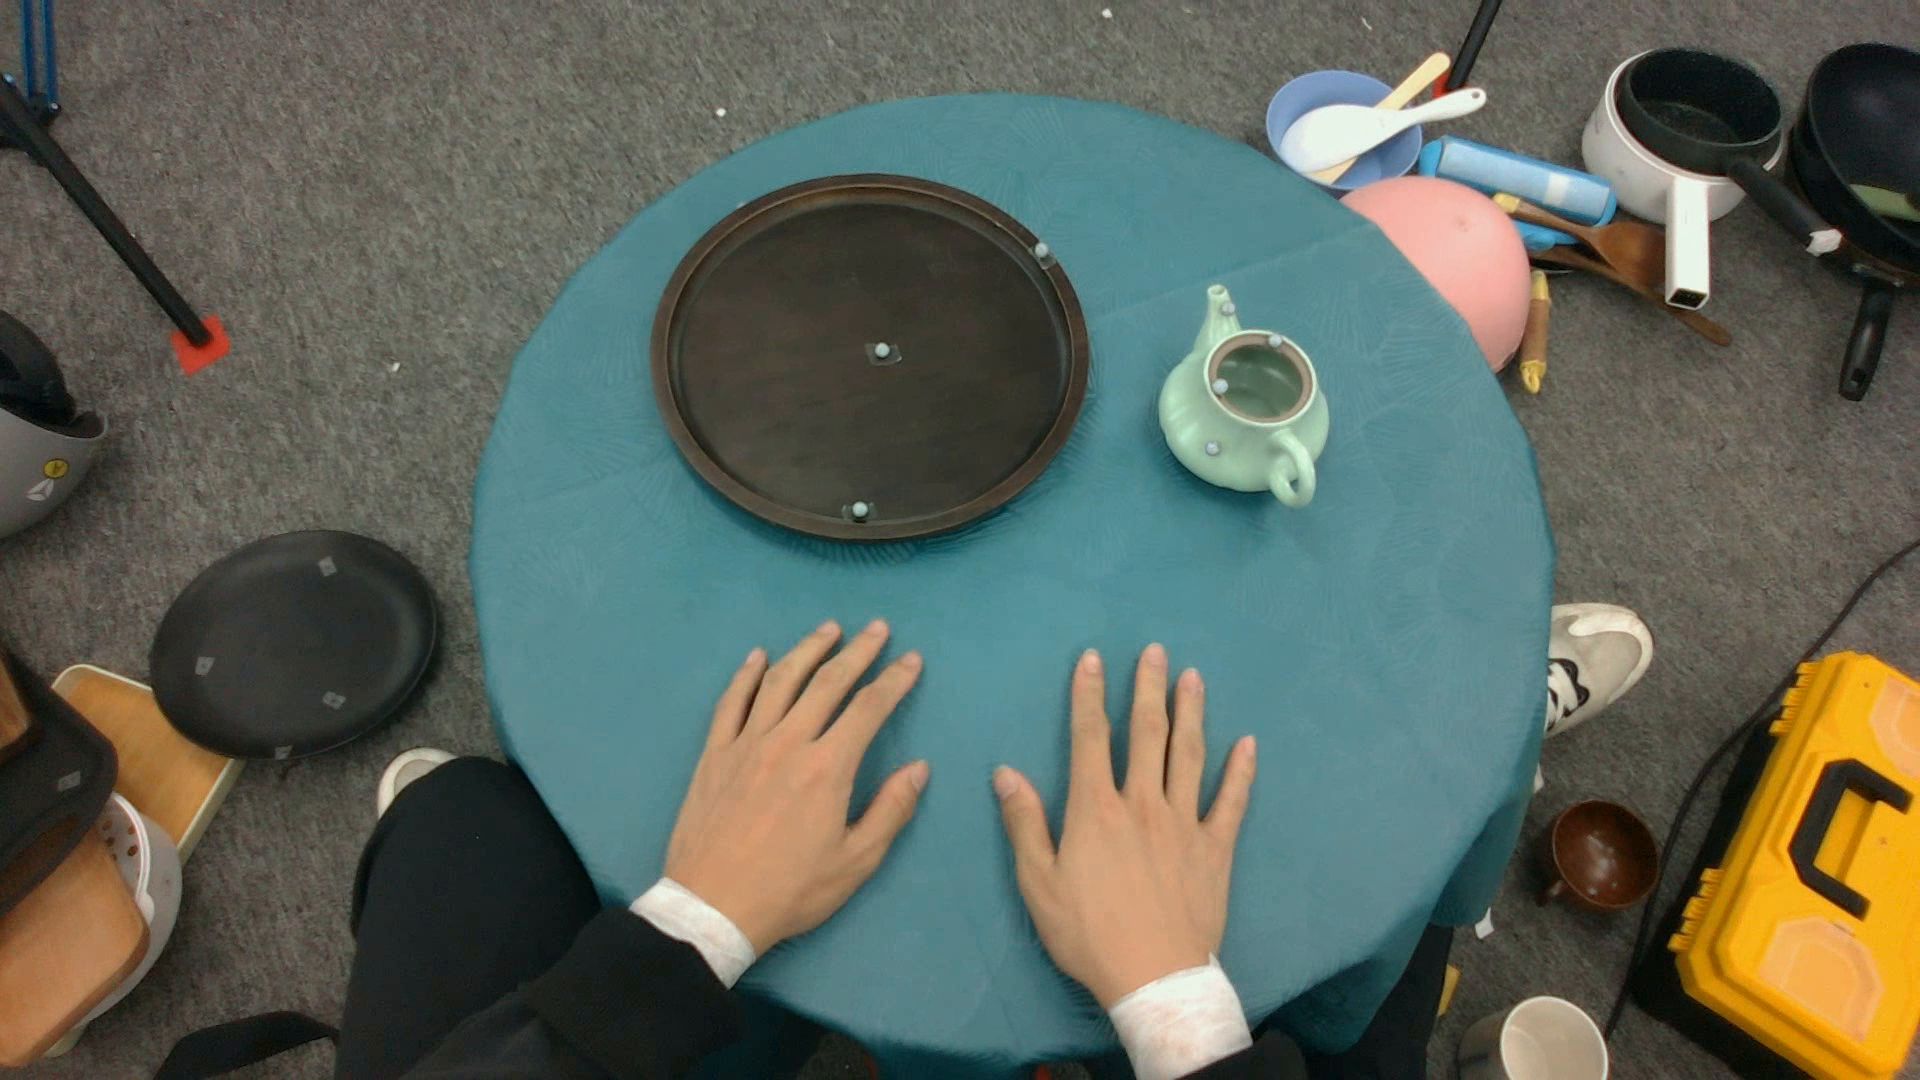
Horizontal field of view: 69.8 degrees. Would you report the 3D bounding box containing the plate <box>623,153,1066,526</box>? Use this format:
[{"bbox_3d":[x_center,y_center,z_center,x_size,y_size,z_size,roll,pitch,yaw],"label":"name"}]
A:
[{"bbox_3d":[-0.065,-0.120,0.795,0.255,0.029,0.256,2,63,-4],"label":"plate"}]

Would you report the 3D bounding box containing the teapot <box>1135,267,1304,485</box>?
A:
[{"bbox_3d":[0.151,-0.085,0.773,0.096,0.061,0.137,-18,66,-14],"label":"teapot"}]
